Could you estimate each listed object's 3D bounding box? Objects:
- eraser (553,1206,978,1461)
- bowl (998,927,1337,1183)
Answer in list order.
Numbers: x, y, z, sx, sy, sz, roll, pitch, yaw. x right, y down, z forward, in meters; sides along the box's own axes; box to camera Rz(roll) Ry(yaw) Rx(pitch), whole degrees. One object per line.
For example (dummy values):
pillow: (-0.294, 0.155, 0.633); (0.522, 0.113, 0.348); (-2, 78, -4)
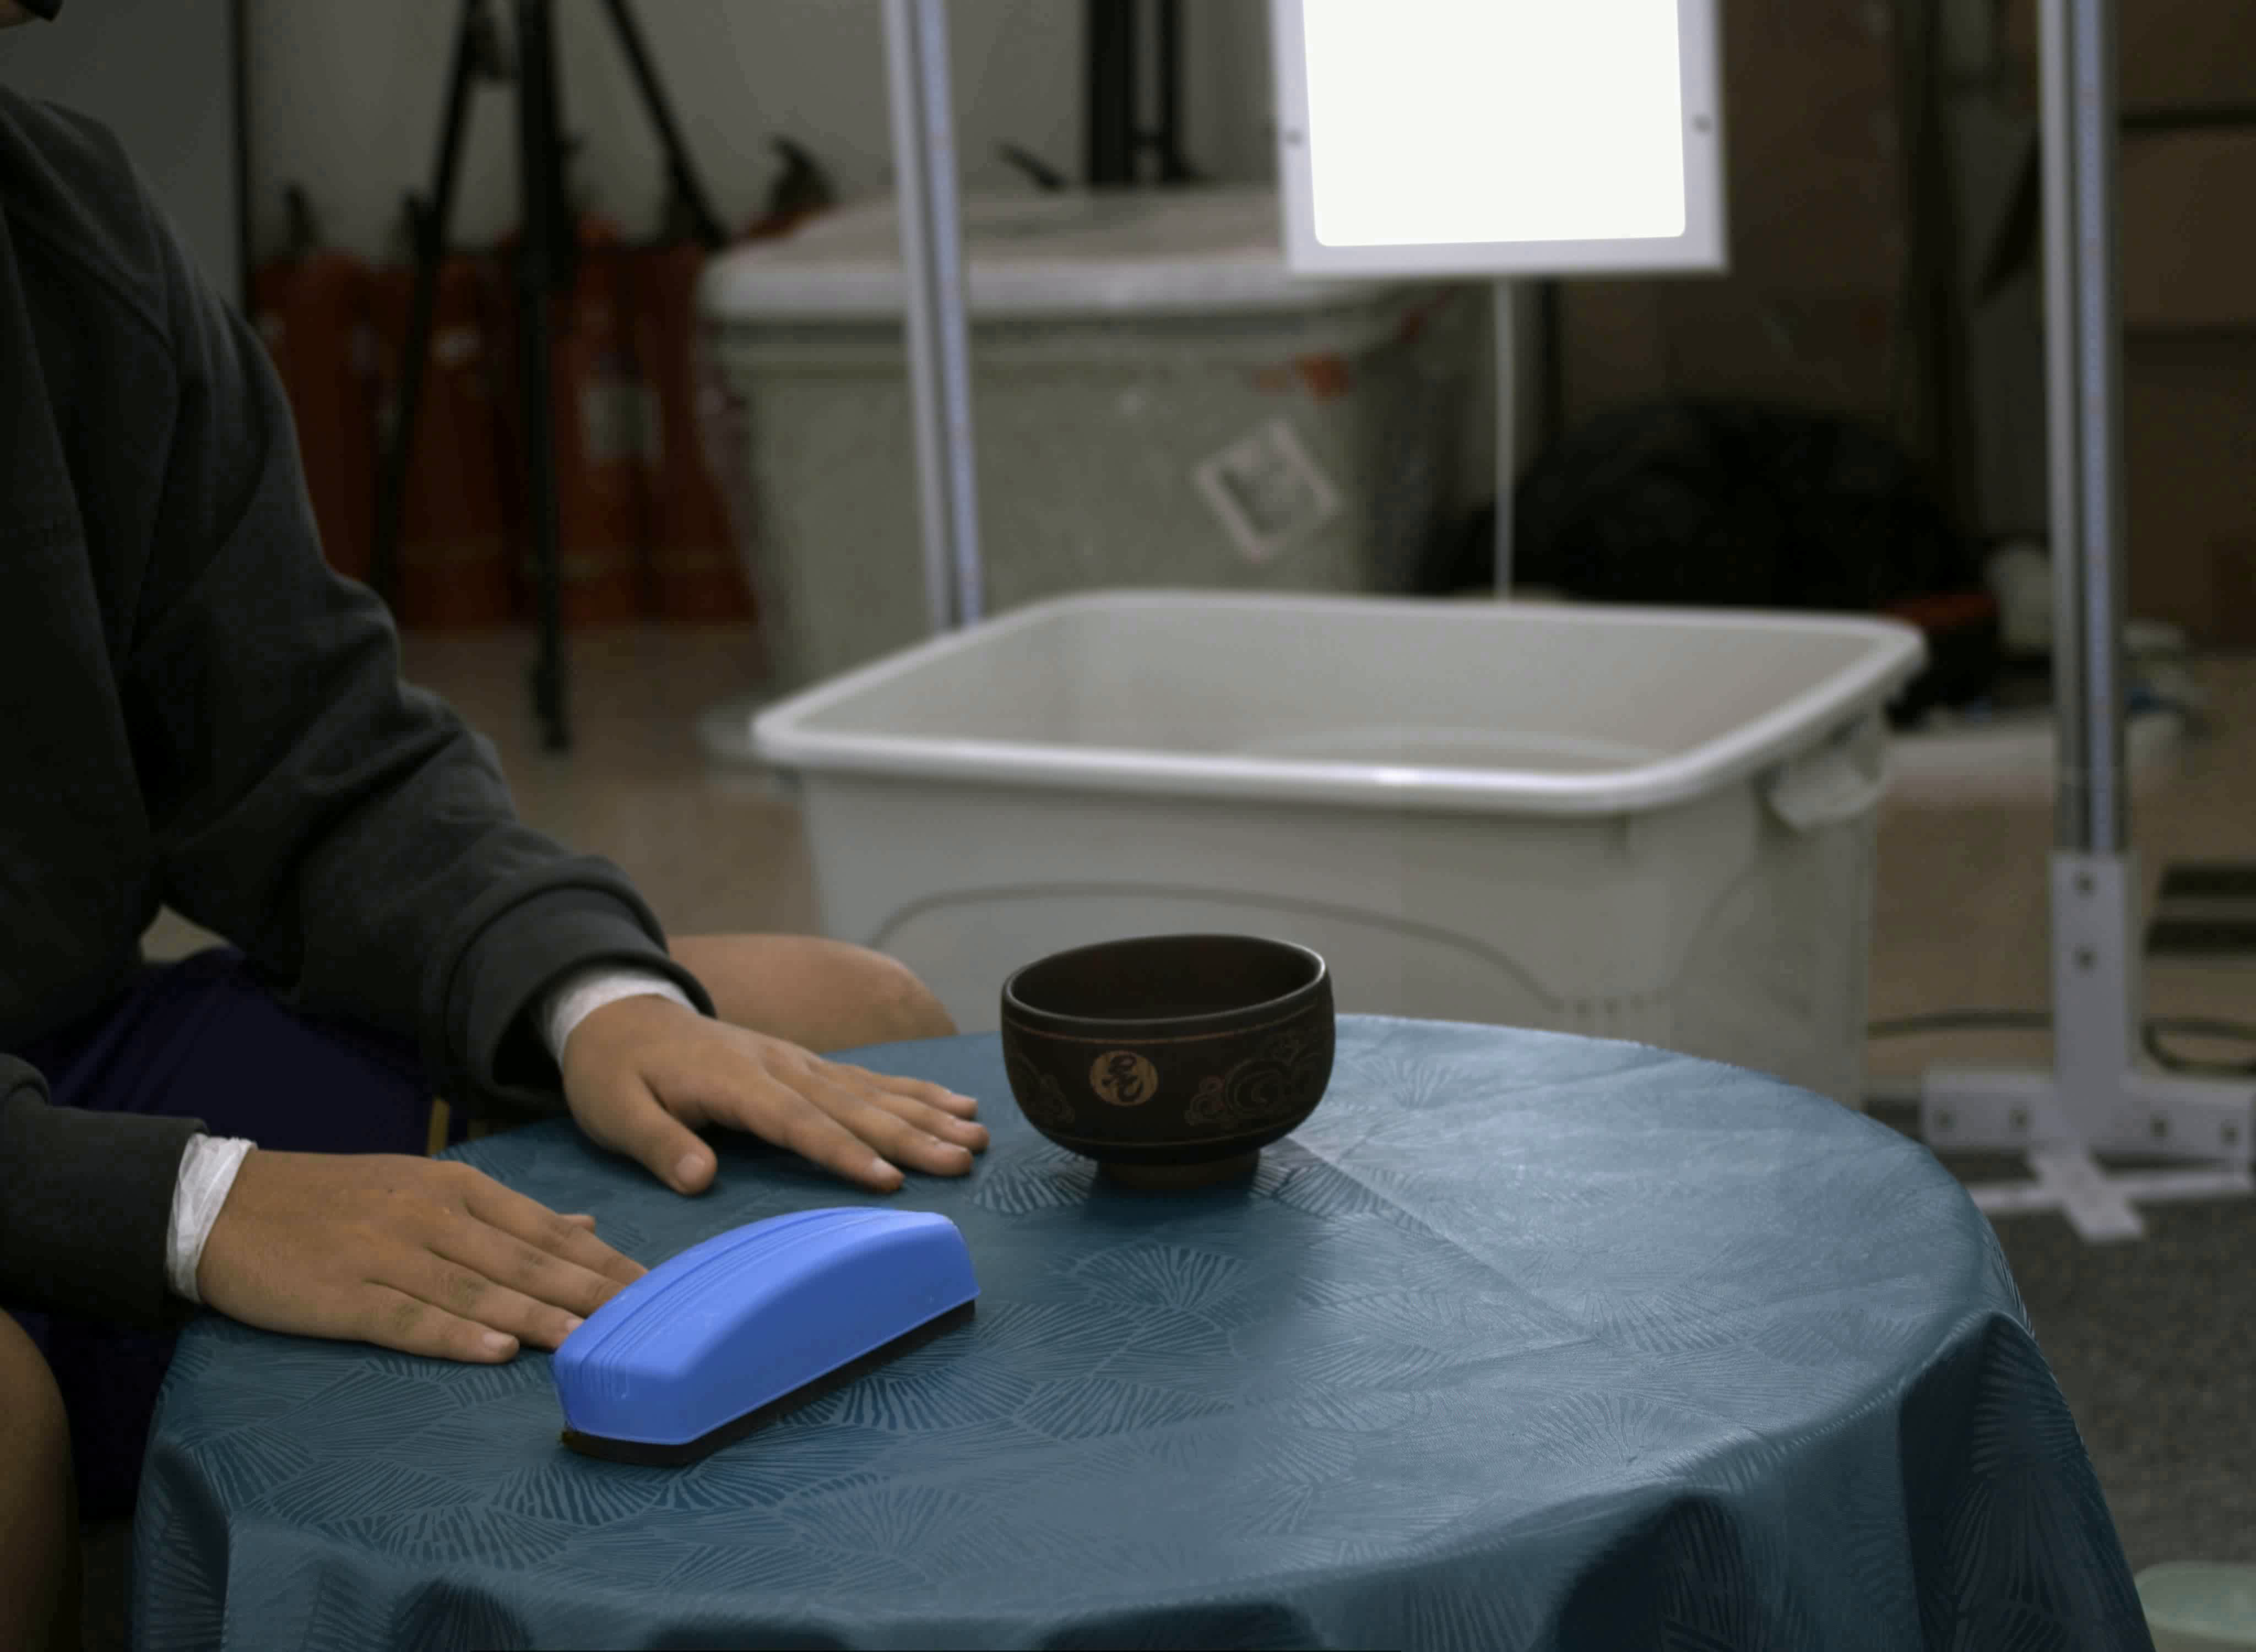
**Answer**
eraser: (-0.113, 0.153, 1.734); (0.055, 0.048, 0.158); (6, 17, 35)
bowl: (0.016, 0.083, 1.914); (0.118, 0.070, 0.118); (-6, 14, 0)
